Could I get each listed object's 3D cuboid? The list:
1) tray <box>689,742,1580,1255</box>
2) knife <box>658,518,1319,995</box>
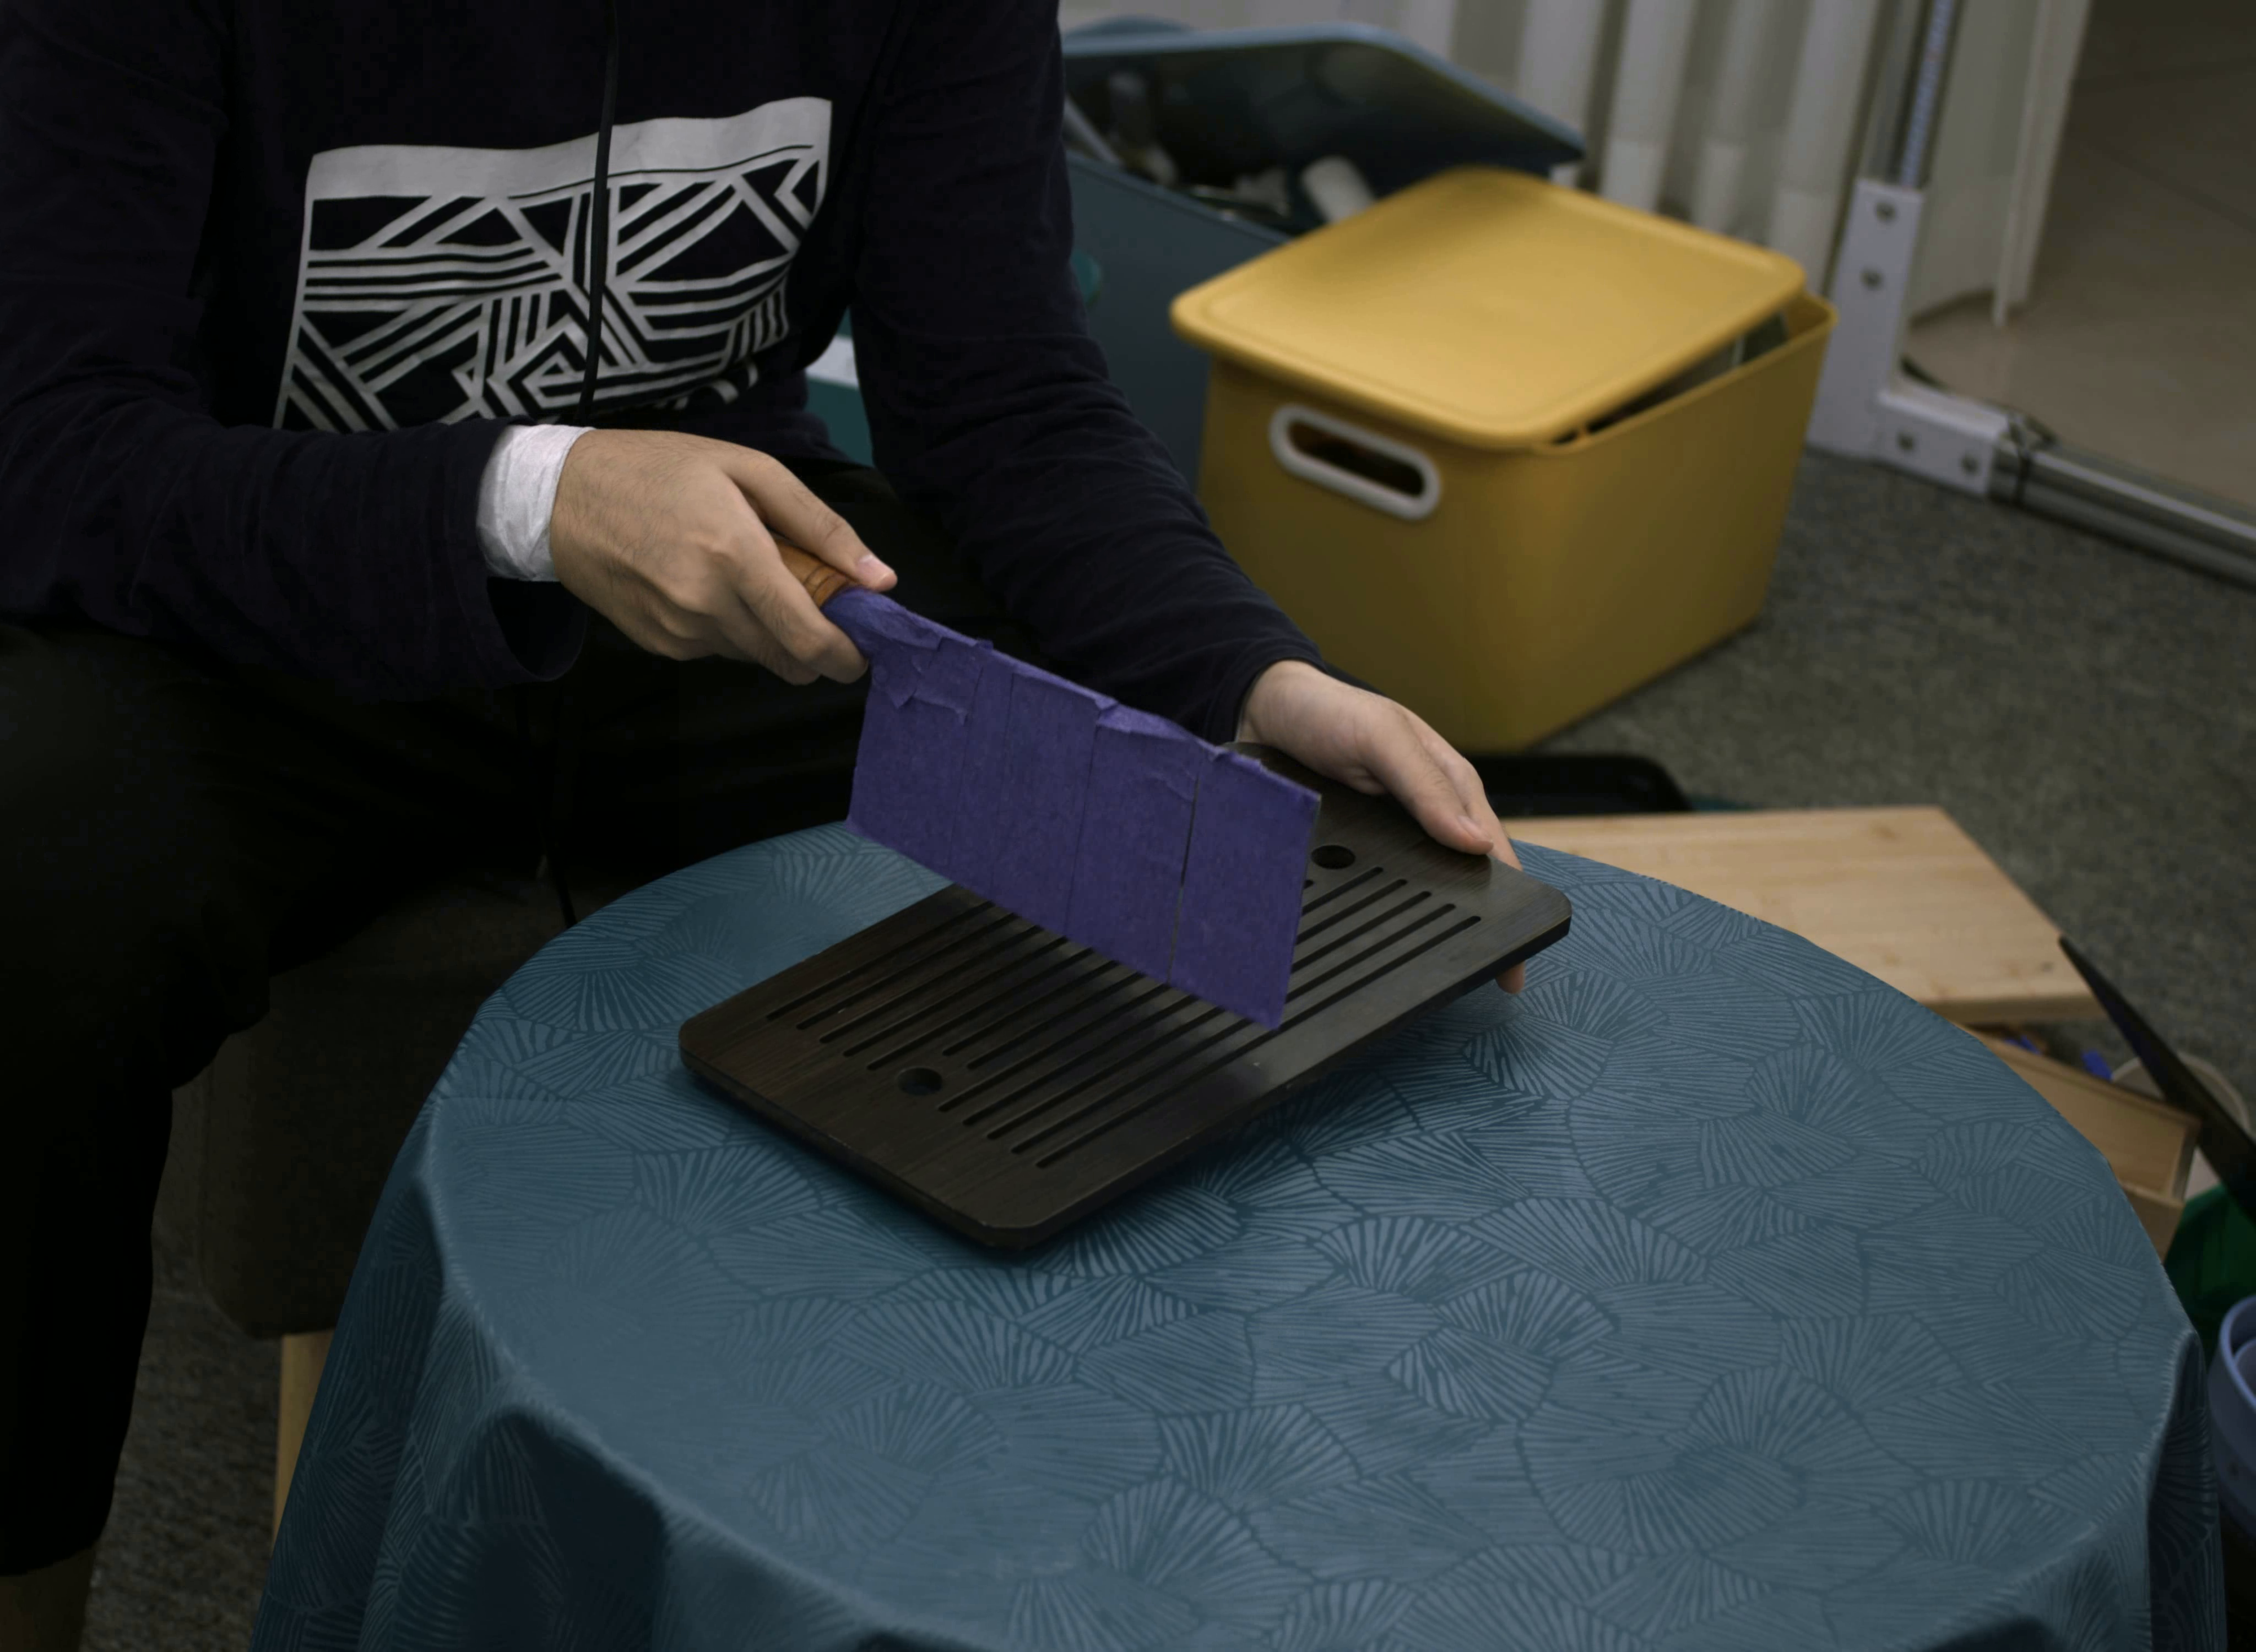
[{"bbox_3d":[0.006,0.058,1.887,0.171,0.018,0.305,27,39,35],"label":"tray"},{"bbox_3d":[-0.058,-0.024,1.906,0.317,0.104,0.032,24,23,38],"label":"knife"}]
